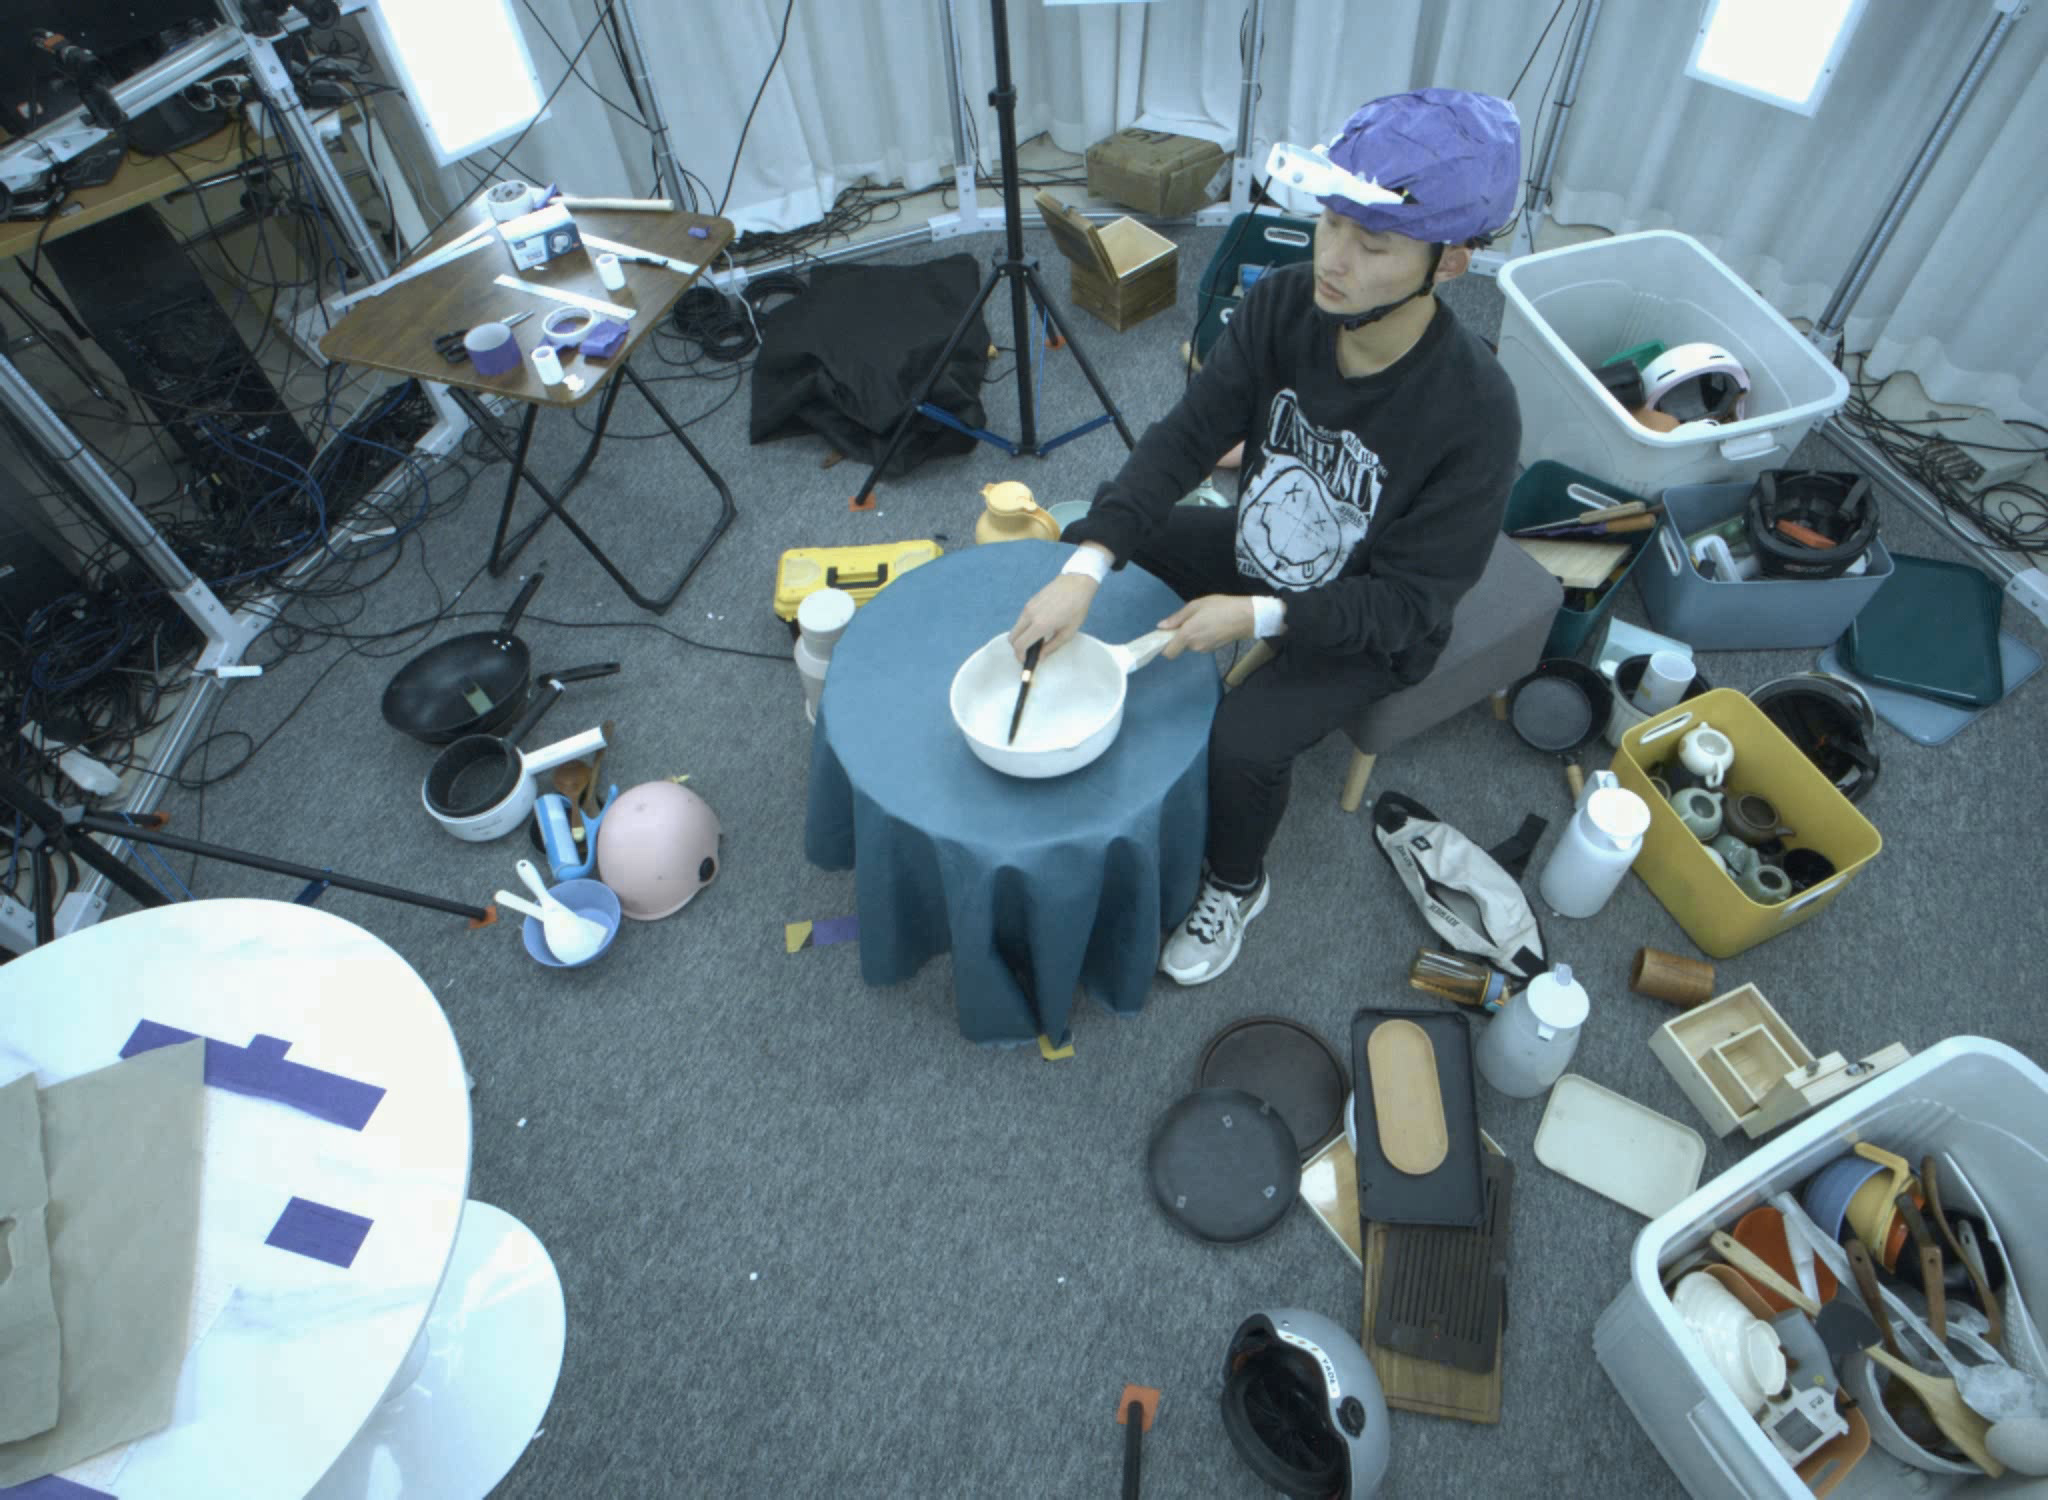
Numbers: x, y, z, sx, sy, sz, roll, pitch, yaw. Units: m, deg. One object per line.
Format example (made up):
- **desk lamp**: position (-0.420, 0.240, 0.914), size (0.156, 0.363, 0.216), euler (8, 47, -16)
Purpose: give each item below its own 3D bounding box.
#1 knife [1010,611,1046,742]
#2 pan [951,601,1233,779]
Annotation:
- **knife**: position (0.002, -0.094, 1.769), size (0.017, 0.026, 0.225), euler (7, 76, 21)
- **pan**: position (0.109, -0.098, 1.772), size (0.438, 0.103, 0.258), euler (-21, 47, -12)
